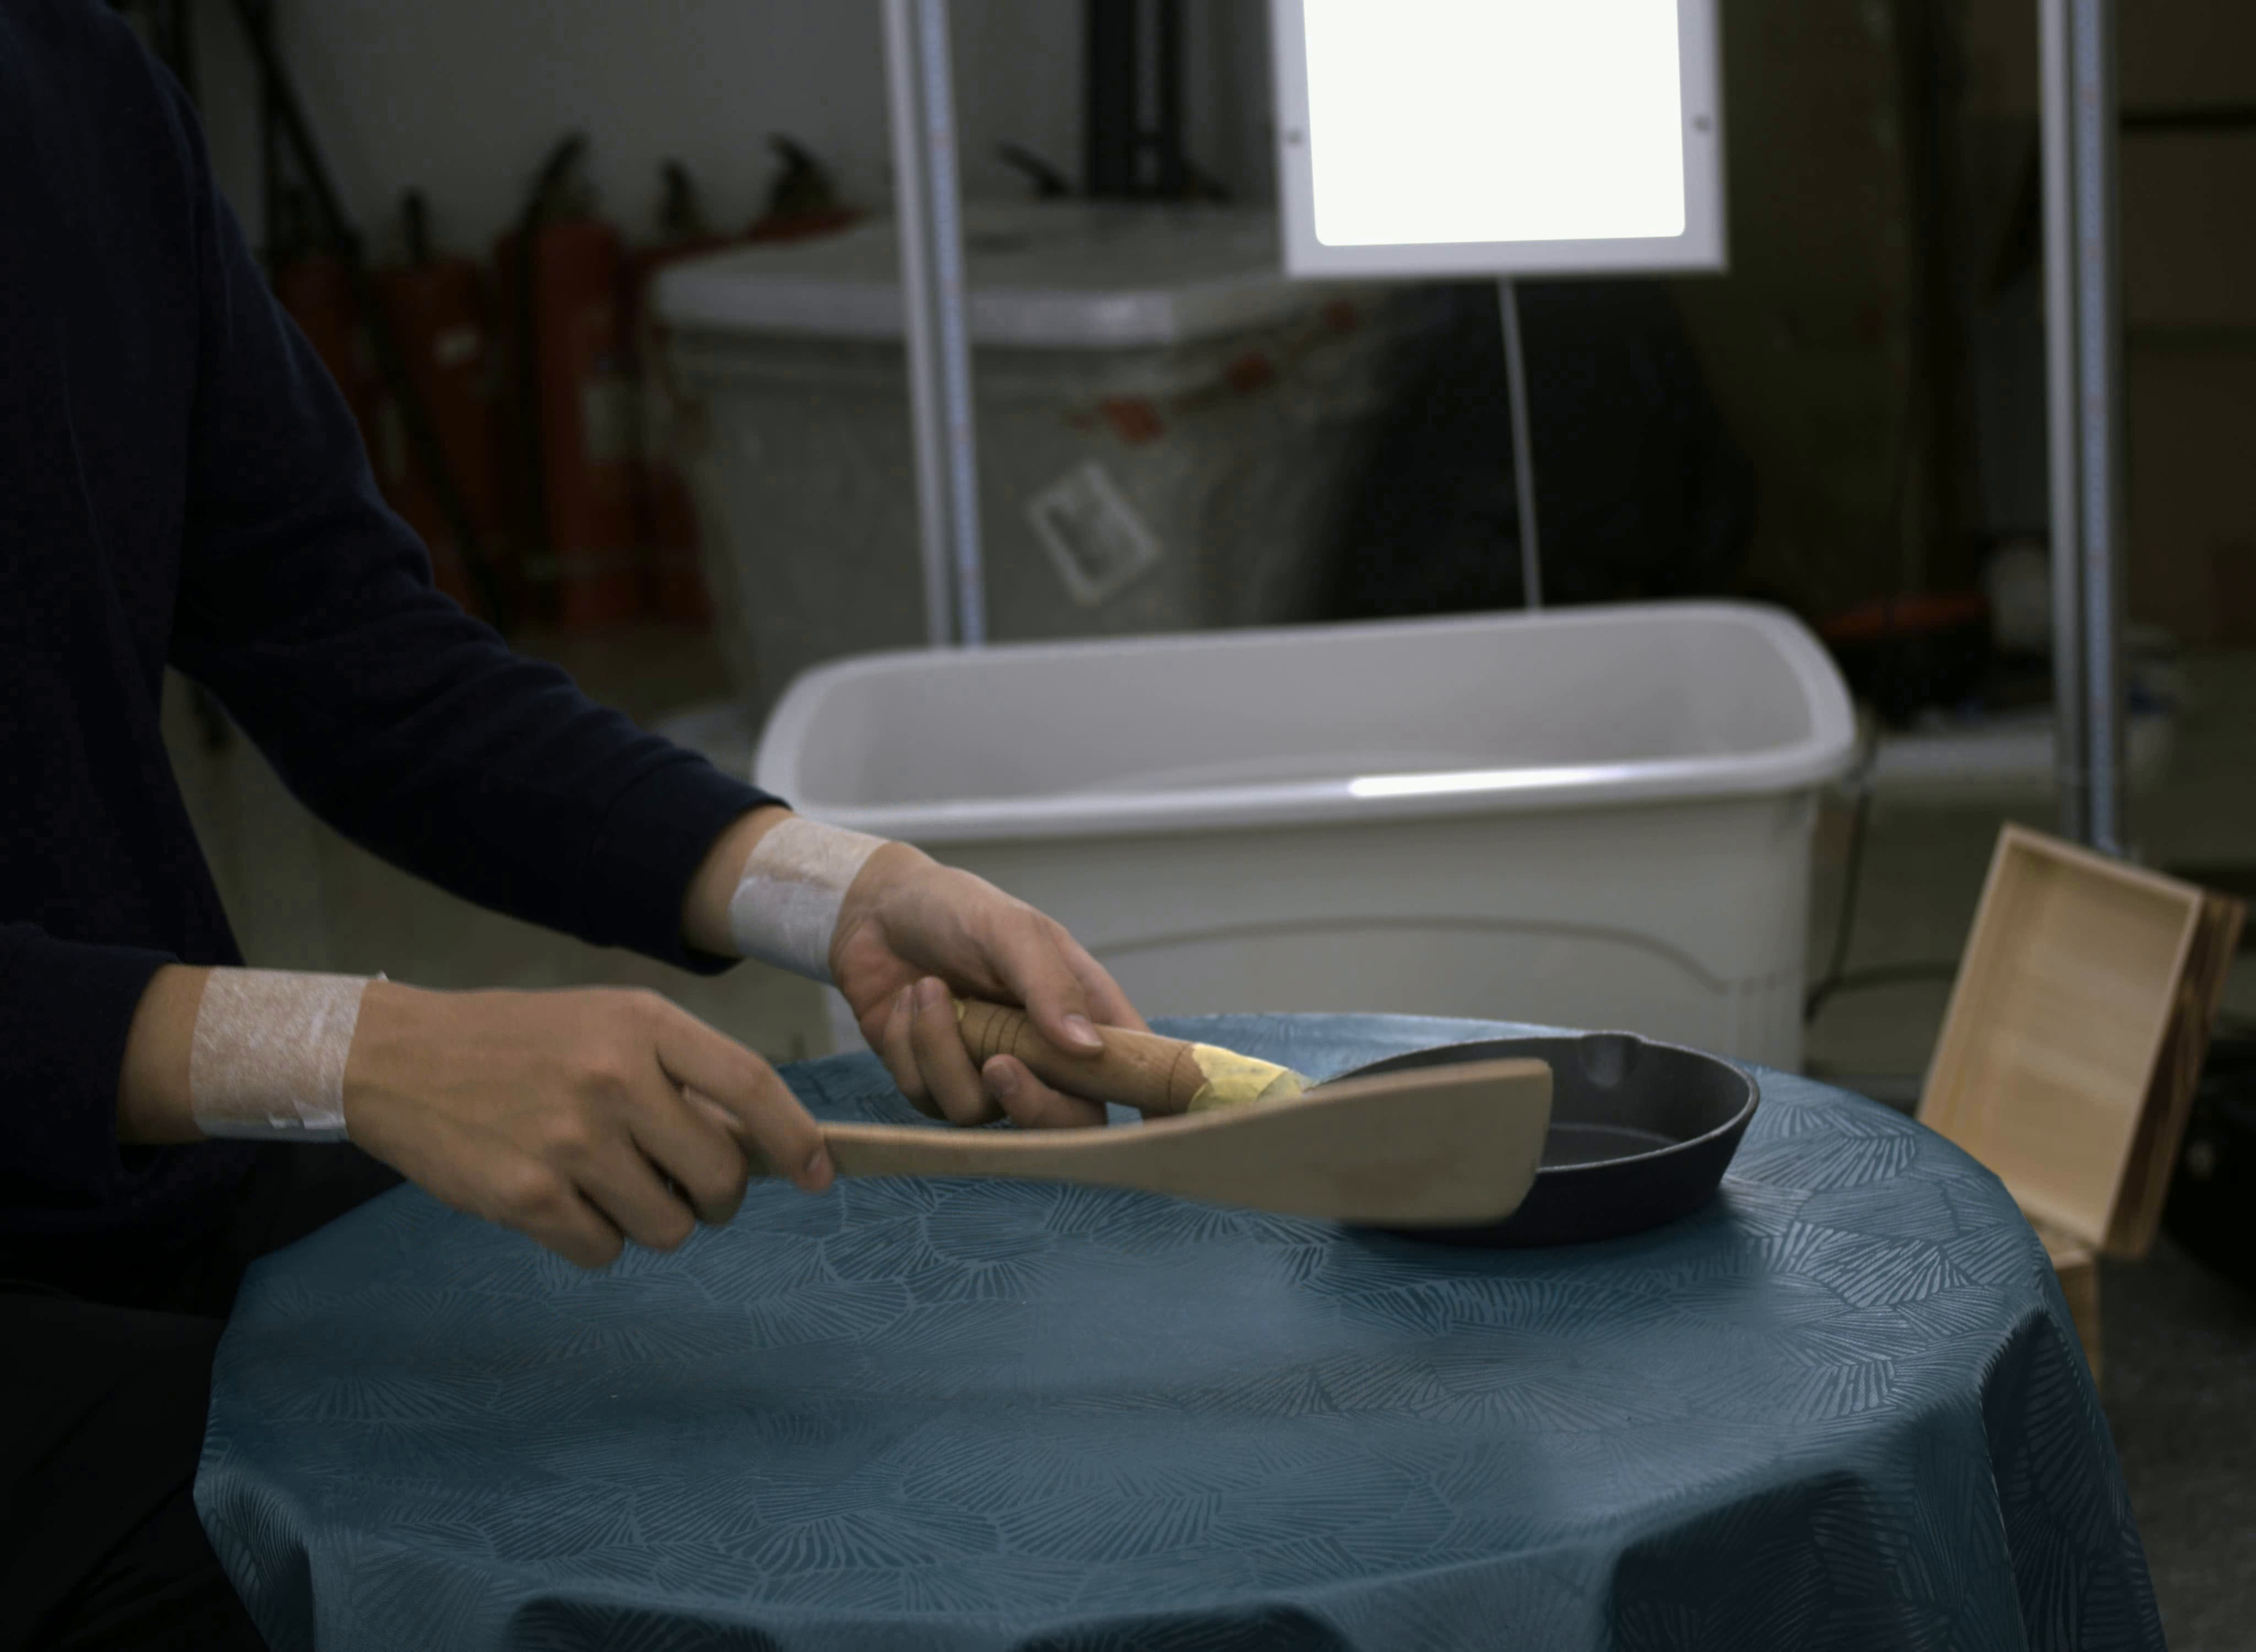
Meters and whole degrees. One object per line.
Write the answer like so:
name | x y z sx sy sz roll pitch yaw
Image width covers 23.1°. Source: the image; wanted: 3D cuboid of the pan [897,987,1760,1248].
pan | 0.062 0.094 1.899 0.330 0.050 0.165 5 17 31

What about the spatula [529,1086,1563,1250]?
spatula | -0.026 0.107 1.713 0.330 0.080 0.016 0 51 12
